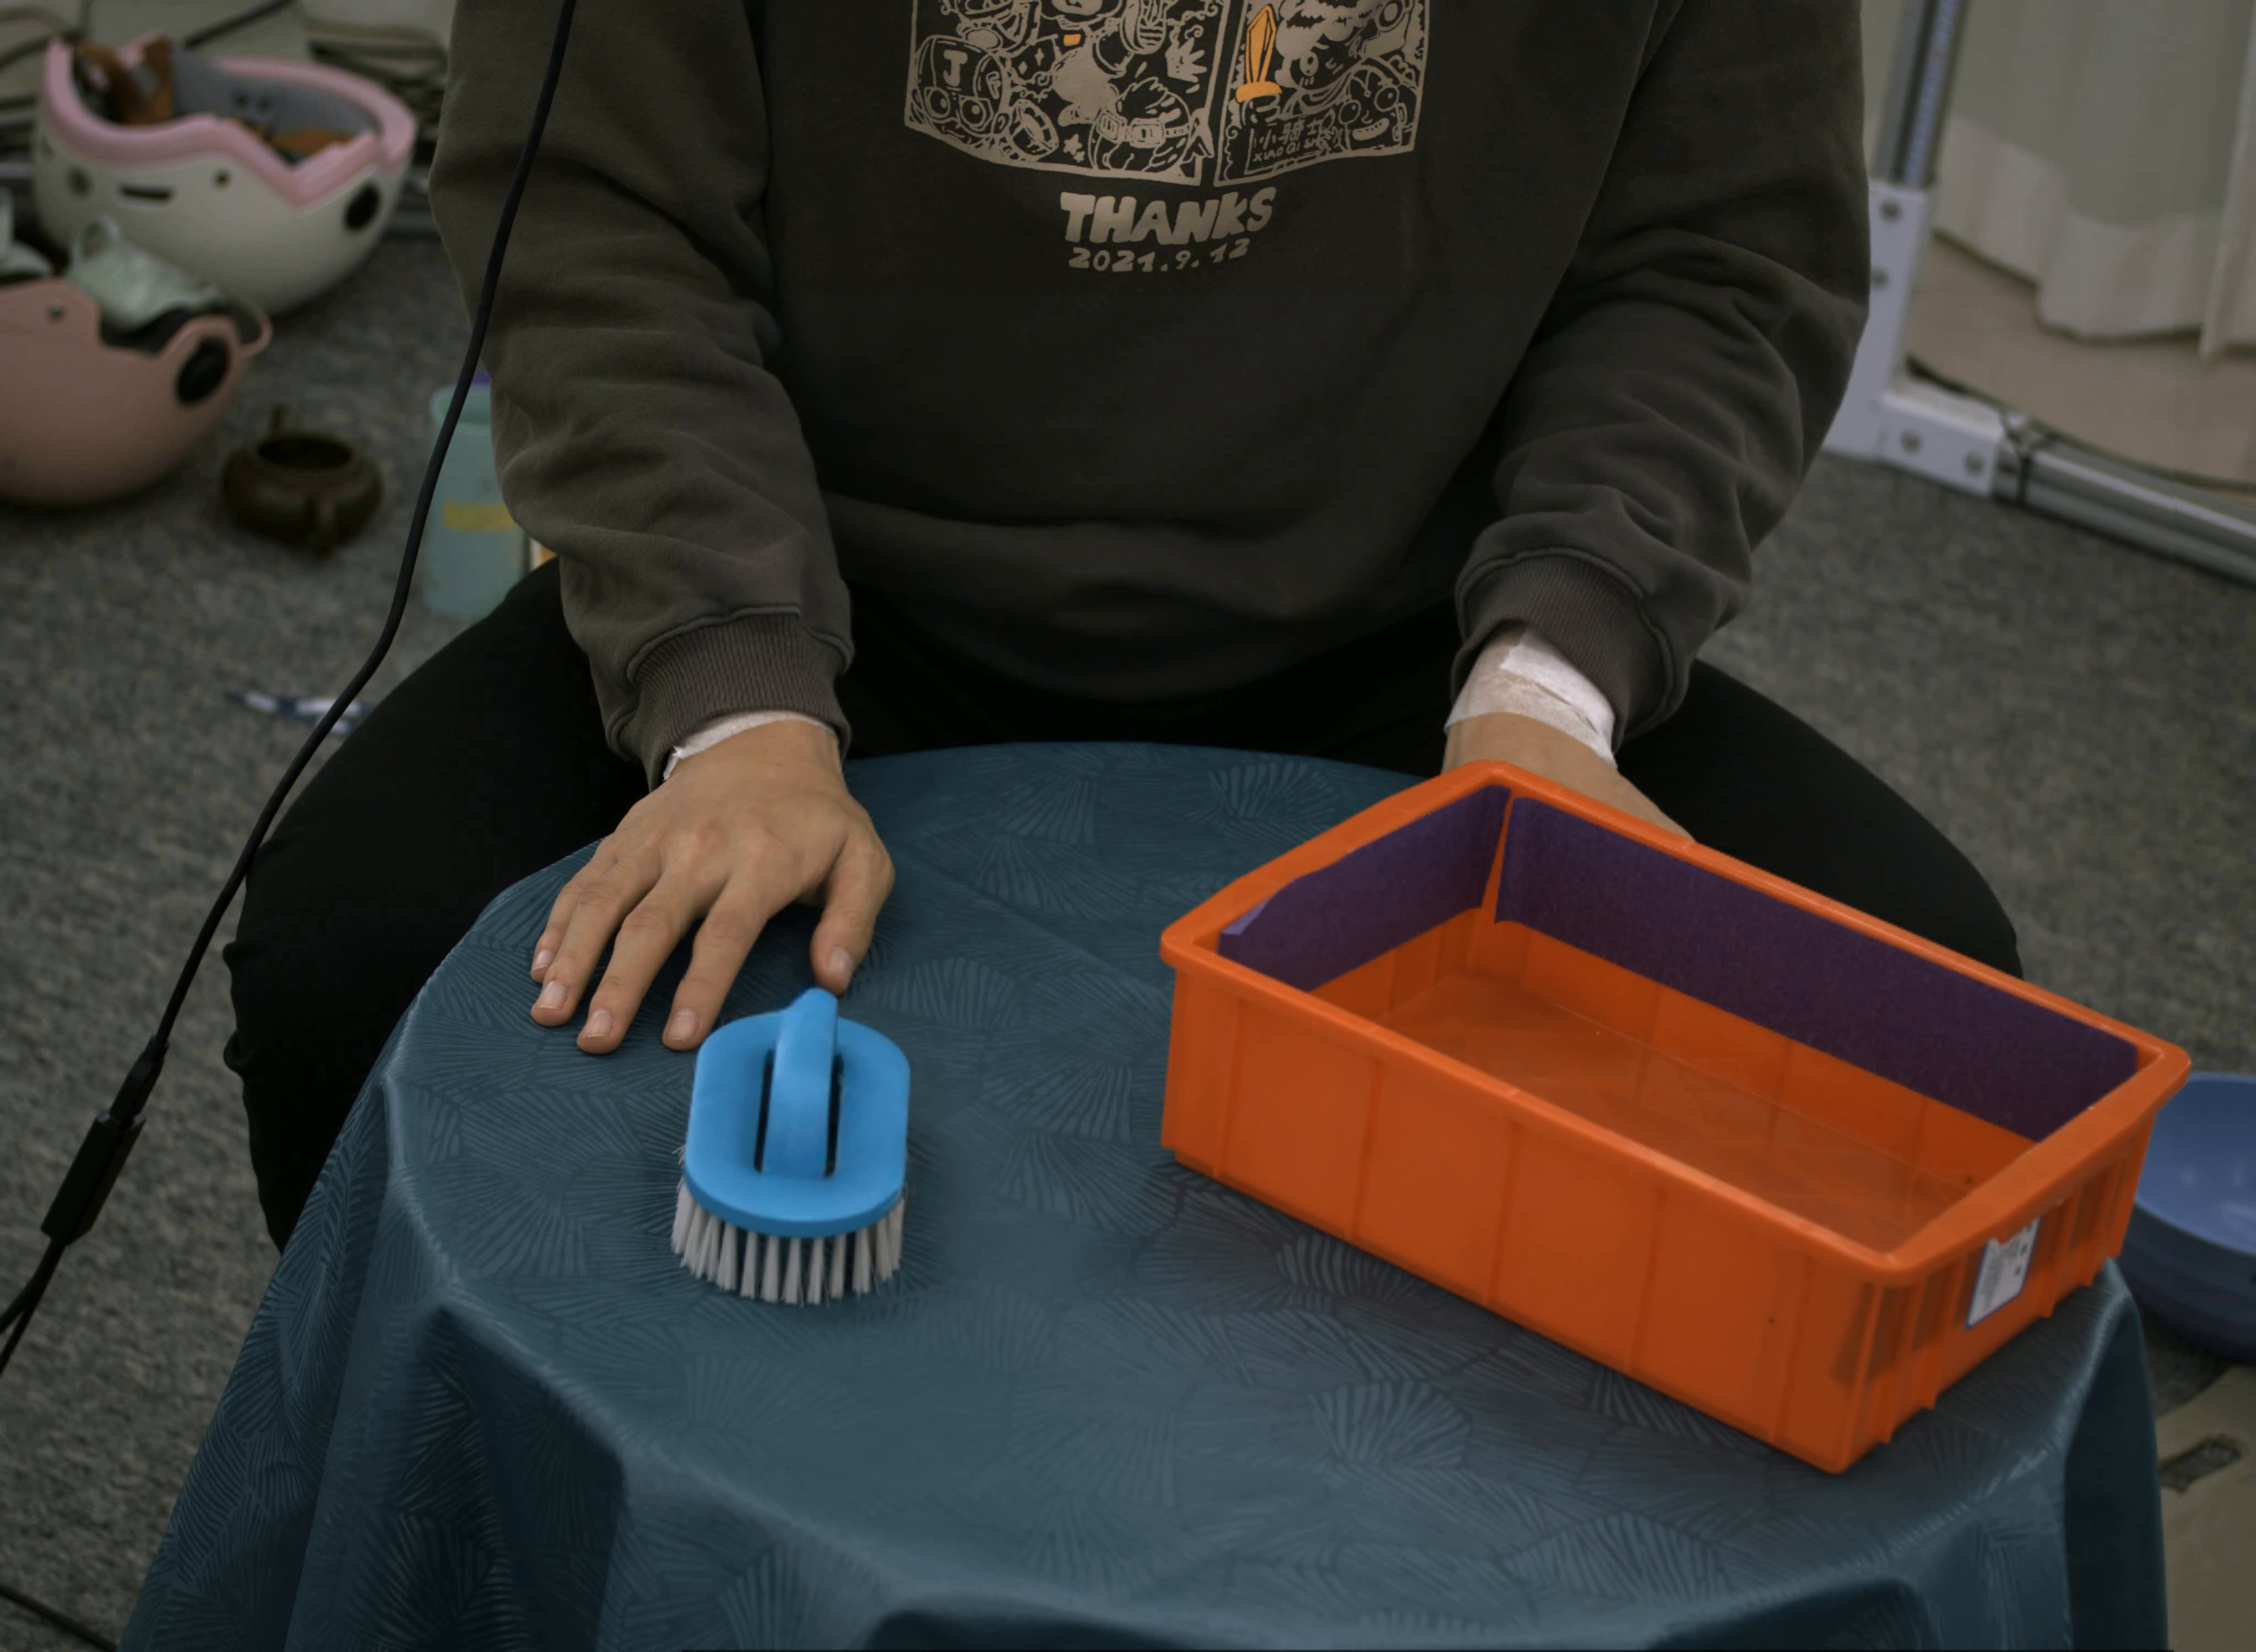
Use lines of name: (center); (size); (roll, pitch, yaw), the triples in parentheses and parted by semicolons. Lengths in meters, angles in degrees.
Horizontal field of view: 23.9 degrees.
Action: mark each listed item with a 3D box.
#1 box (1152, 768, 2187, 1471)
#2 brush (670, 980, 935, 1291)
box: (0.177, 0.095, 1.805); (0.305, 0.096, 0.206); (25, 31, 31)
brush: (-0.107, 0.094, 1.767); (0.084, 0.063, 0.142); (2, 25, 2)
